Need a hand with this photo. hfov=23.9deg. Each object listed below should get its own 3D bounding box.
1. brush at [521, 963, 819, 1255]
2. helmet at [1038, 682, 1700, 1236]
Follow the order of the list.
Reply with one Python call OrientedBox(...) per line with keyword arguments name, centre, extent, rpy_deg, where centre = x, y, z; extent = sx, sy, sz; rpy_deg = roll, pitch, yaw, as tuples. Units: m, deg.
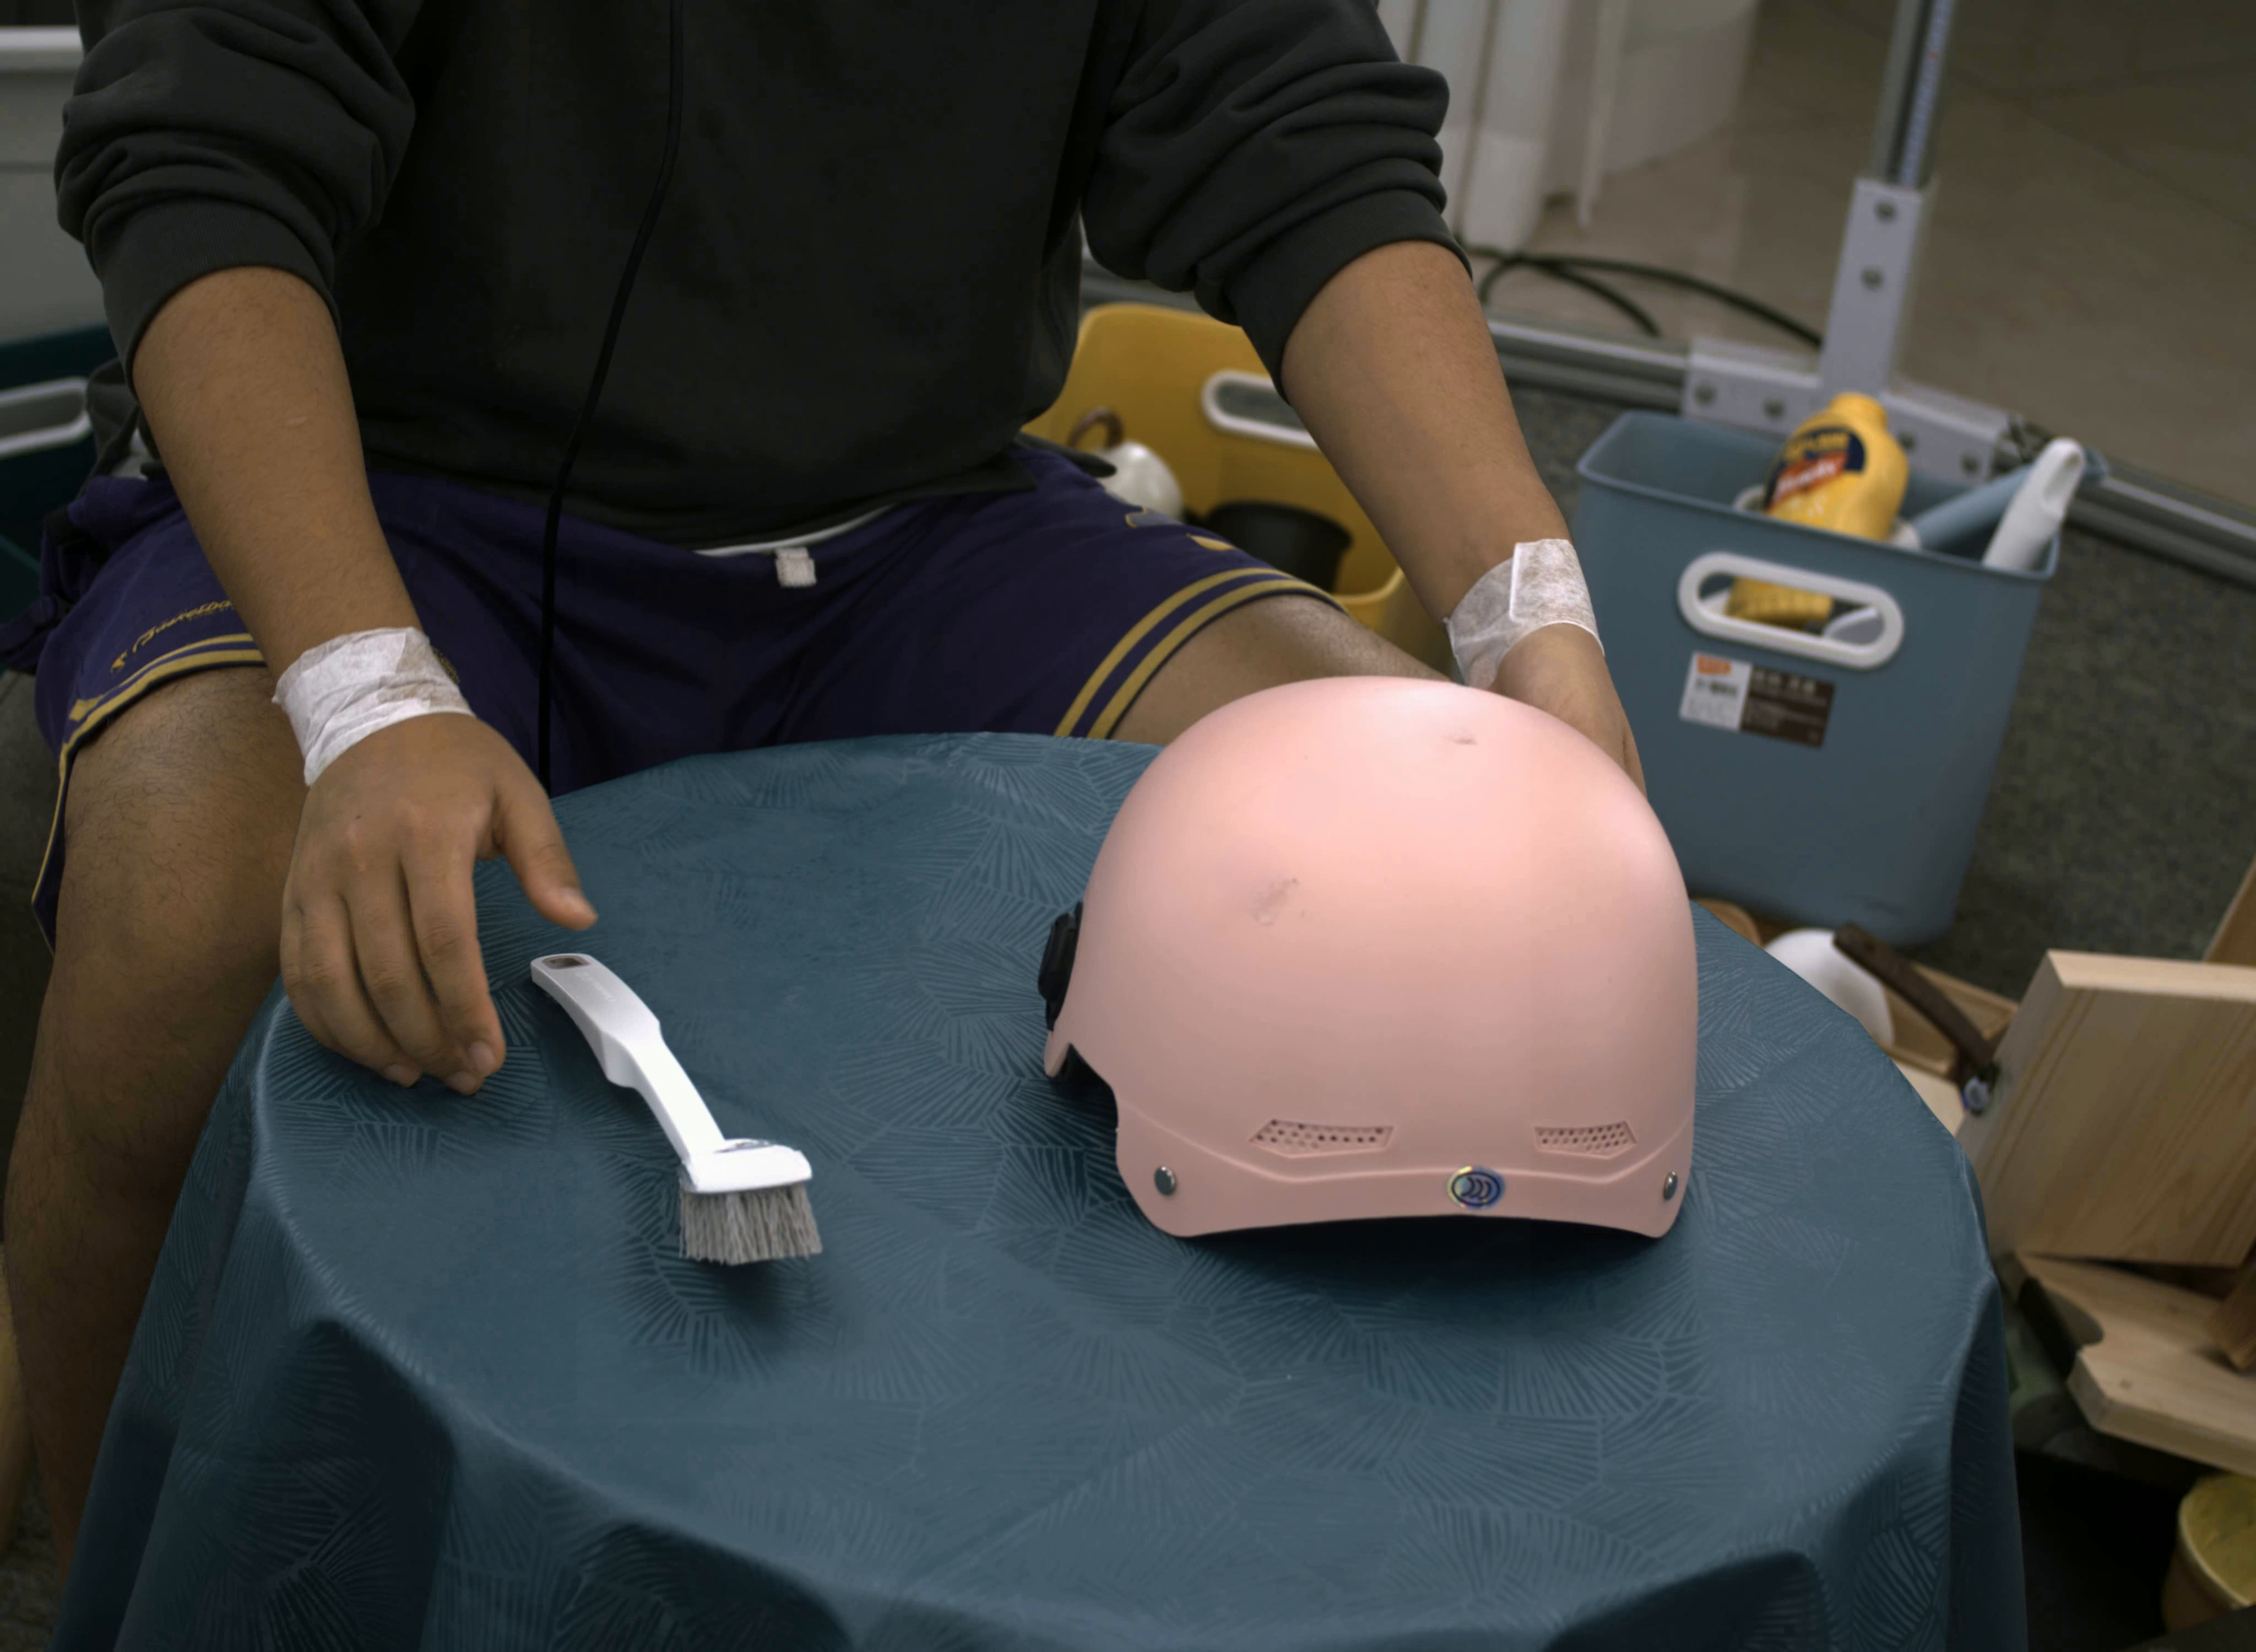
OrientedBox(name="brush", centre=(-0.158, 0.098, 1.792), extent=(0.034, 0.050, 0.245), rpy_deg=(-9, 17, -22))
OrientedBox(name="helmet", centre=(0.090, 0.028, 1.842), extent=(0.233, 0.158, 0.268), rpy_deg=(0, 23, -11))
